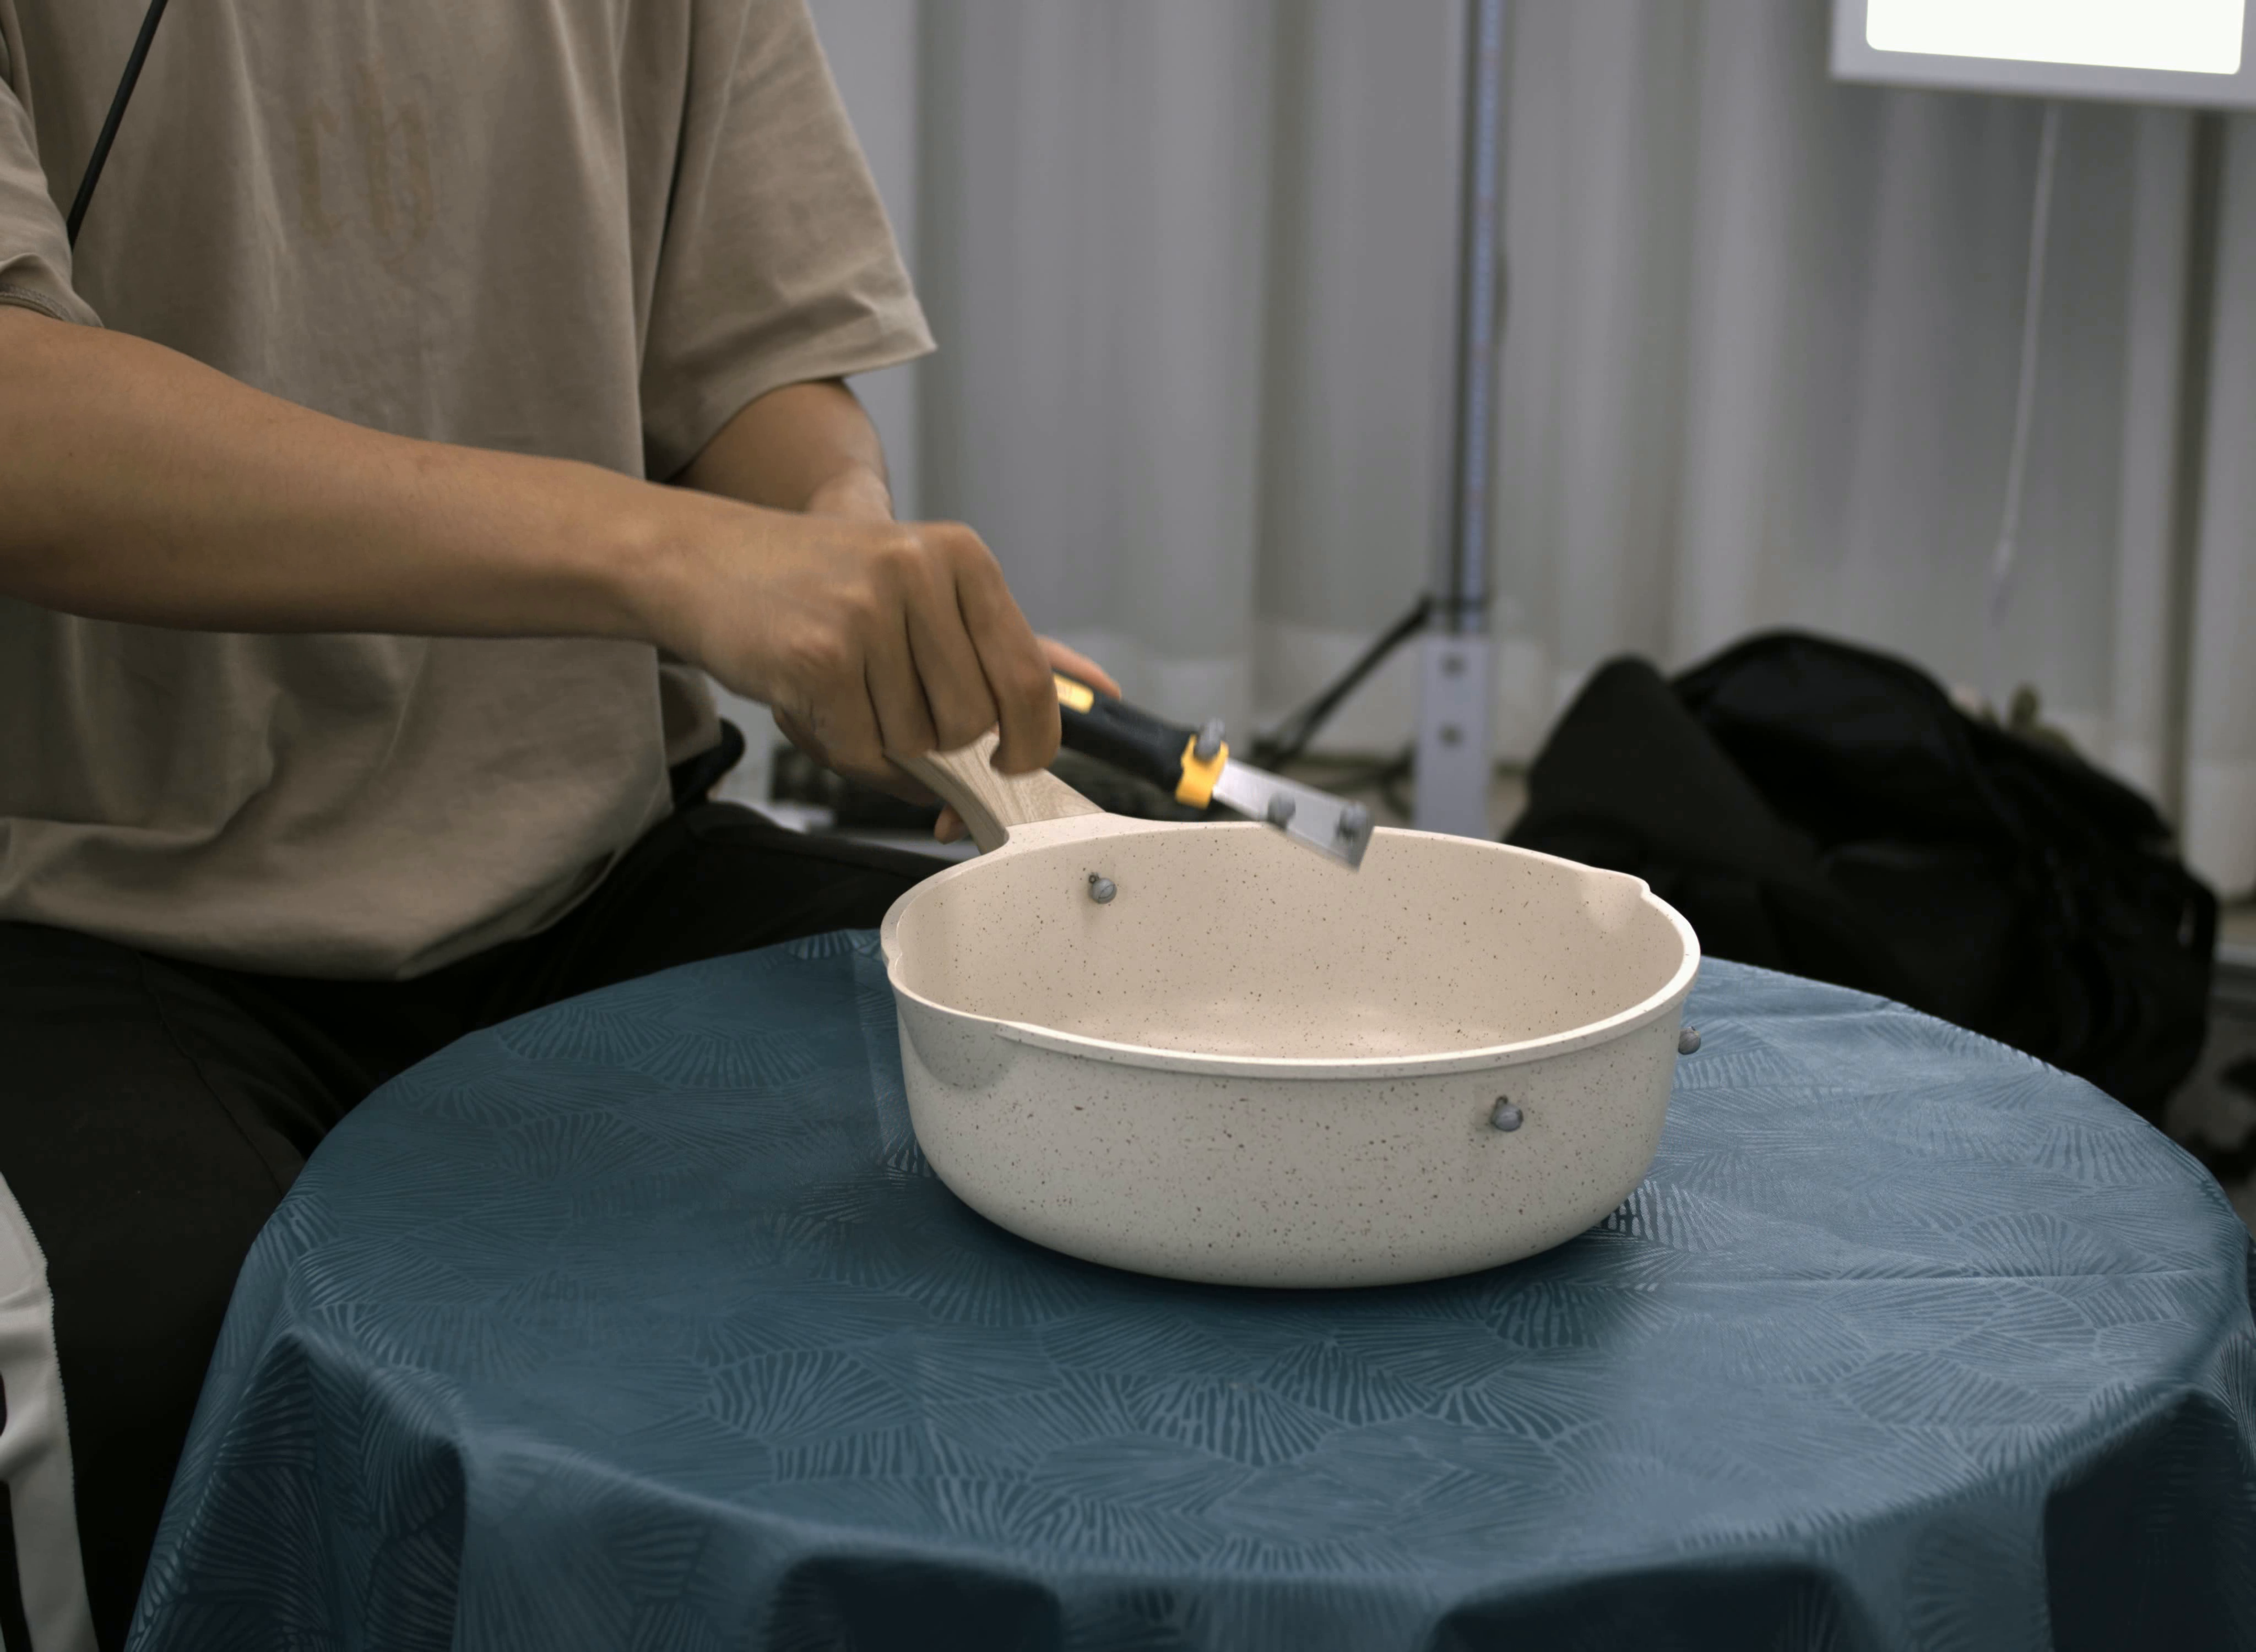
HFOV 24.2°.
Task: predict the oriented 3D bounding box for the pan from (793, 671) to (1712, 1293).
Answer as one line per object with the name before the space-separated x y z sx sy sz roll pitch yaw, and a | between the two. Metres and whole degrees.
pan | 0.007 0.044 1.698 0.264 0.103 0.429 -12 20 -29

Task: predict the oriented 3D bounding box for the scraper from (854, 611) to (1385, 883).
scraper | -0.003 -0.025 1.596 0.171 0.015 0.038 23 38 -3
